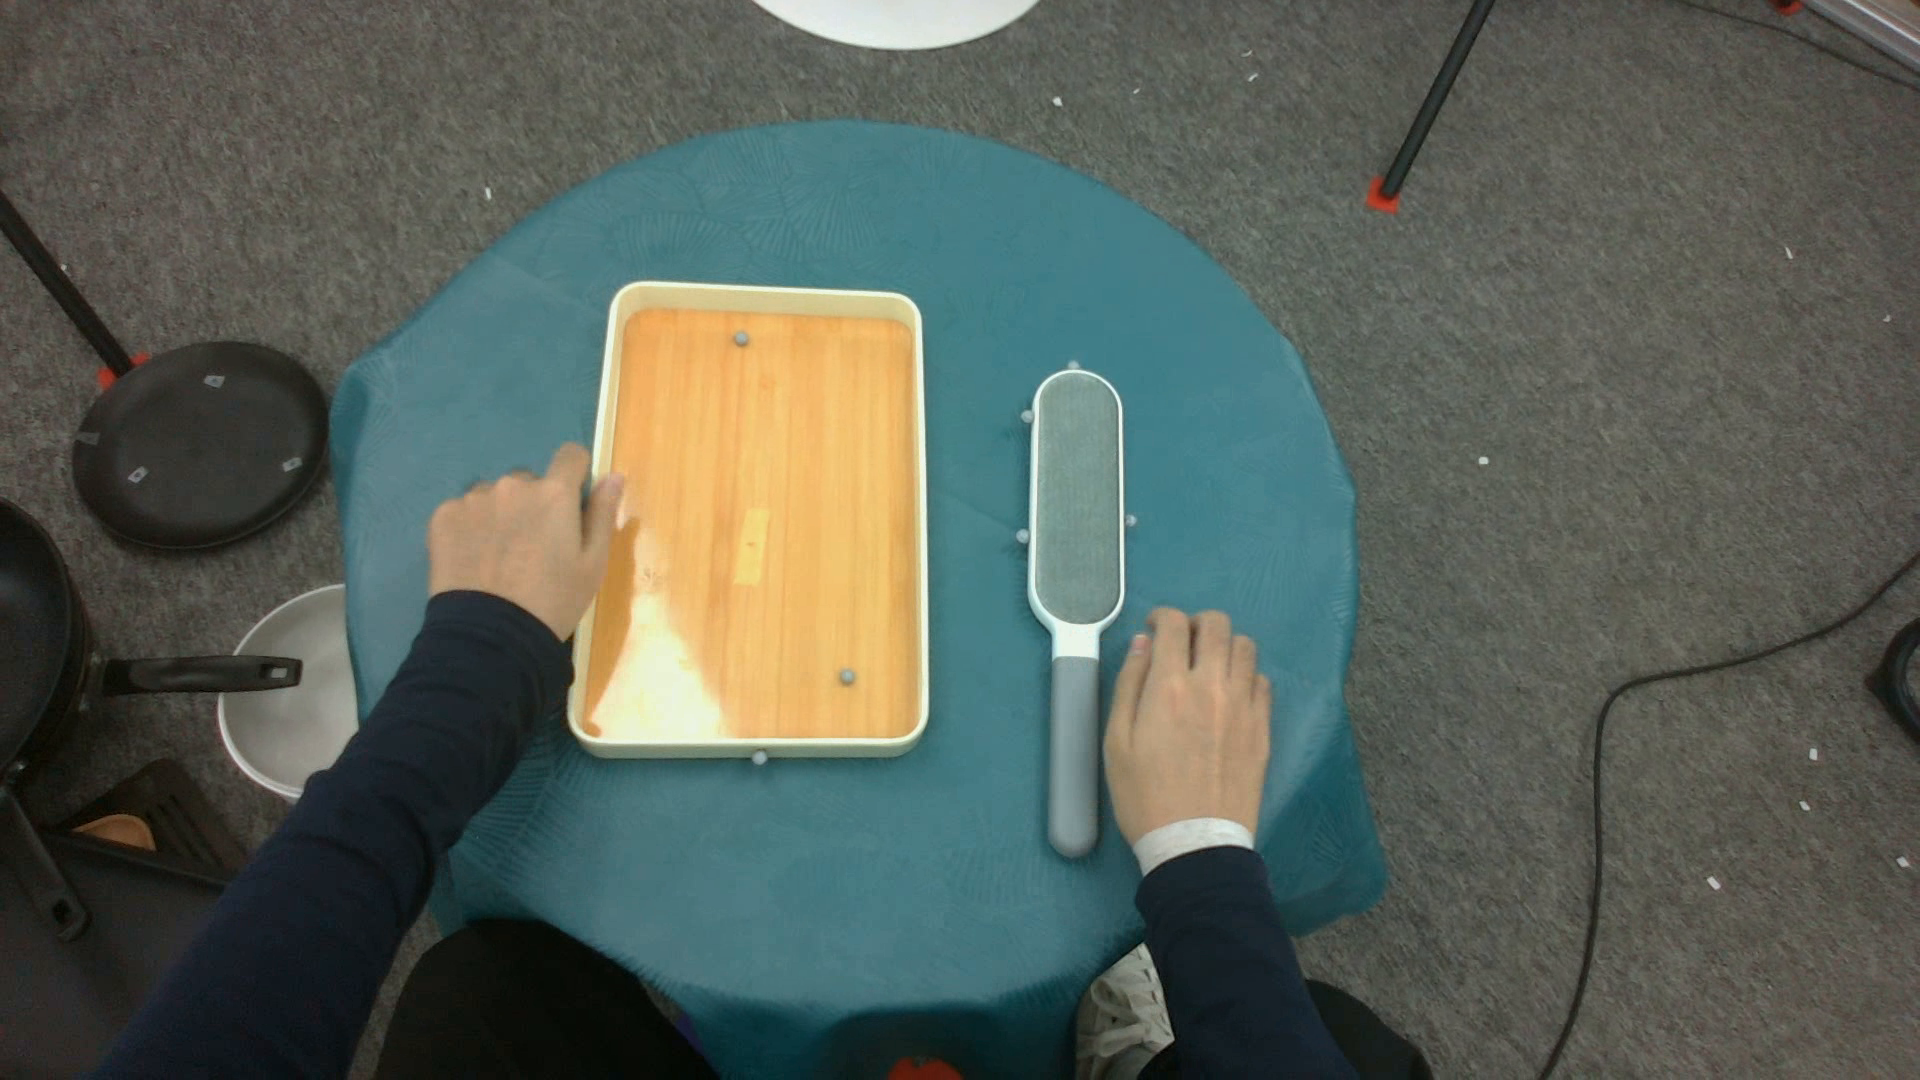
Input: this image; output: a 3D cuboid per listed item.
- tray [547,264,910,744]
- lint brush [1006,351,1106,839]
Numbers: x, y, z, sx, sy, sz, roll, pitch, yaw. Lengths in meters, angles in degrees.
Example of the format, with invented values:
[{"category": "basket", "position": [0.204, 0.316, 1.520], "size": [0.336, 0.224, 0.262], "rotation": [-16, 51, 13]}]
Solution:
[{"category": "tray", "position": [-0.126, -0.029, 0.797], "size": [0.192, 0.027, 0.301], "rotation": [2, 63, -7]}, {"category": "lint brush", "position": [0.055, 0.020, 0.797], "size": [0.060, 0.021, 0.310], "rotation": [8, 62, -10]}]
